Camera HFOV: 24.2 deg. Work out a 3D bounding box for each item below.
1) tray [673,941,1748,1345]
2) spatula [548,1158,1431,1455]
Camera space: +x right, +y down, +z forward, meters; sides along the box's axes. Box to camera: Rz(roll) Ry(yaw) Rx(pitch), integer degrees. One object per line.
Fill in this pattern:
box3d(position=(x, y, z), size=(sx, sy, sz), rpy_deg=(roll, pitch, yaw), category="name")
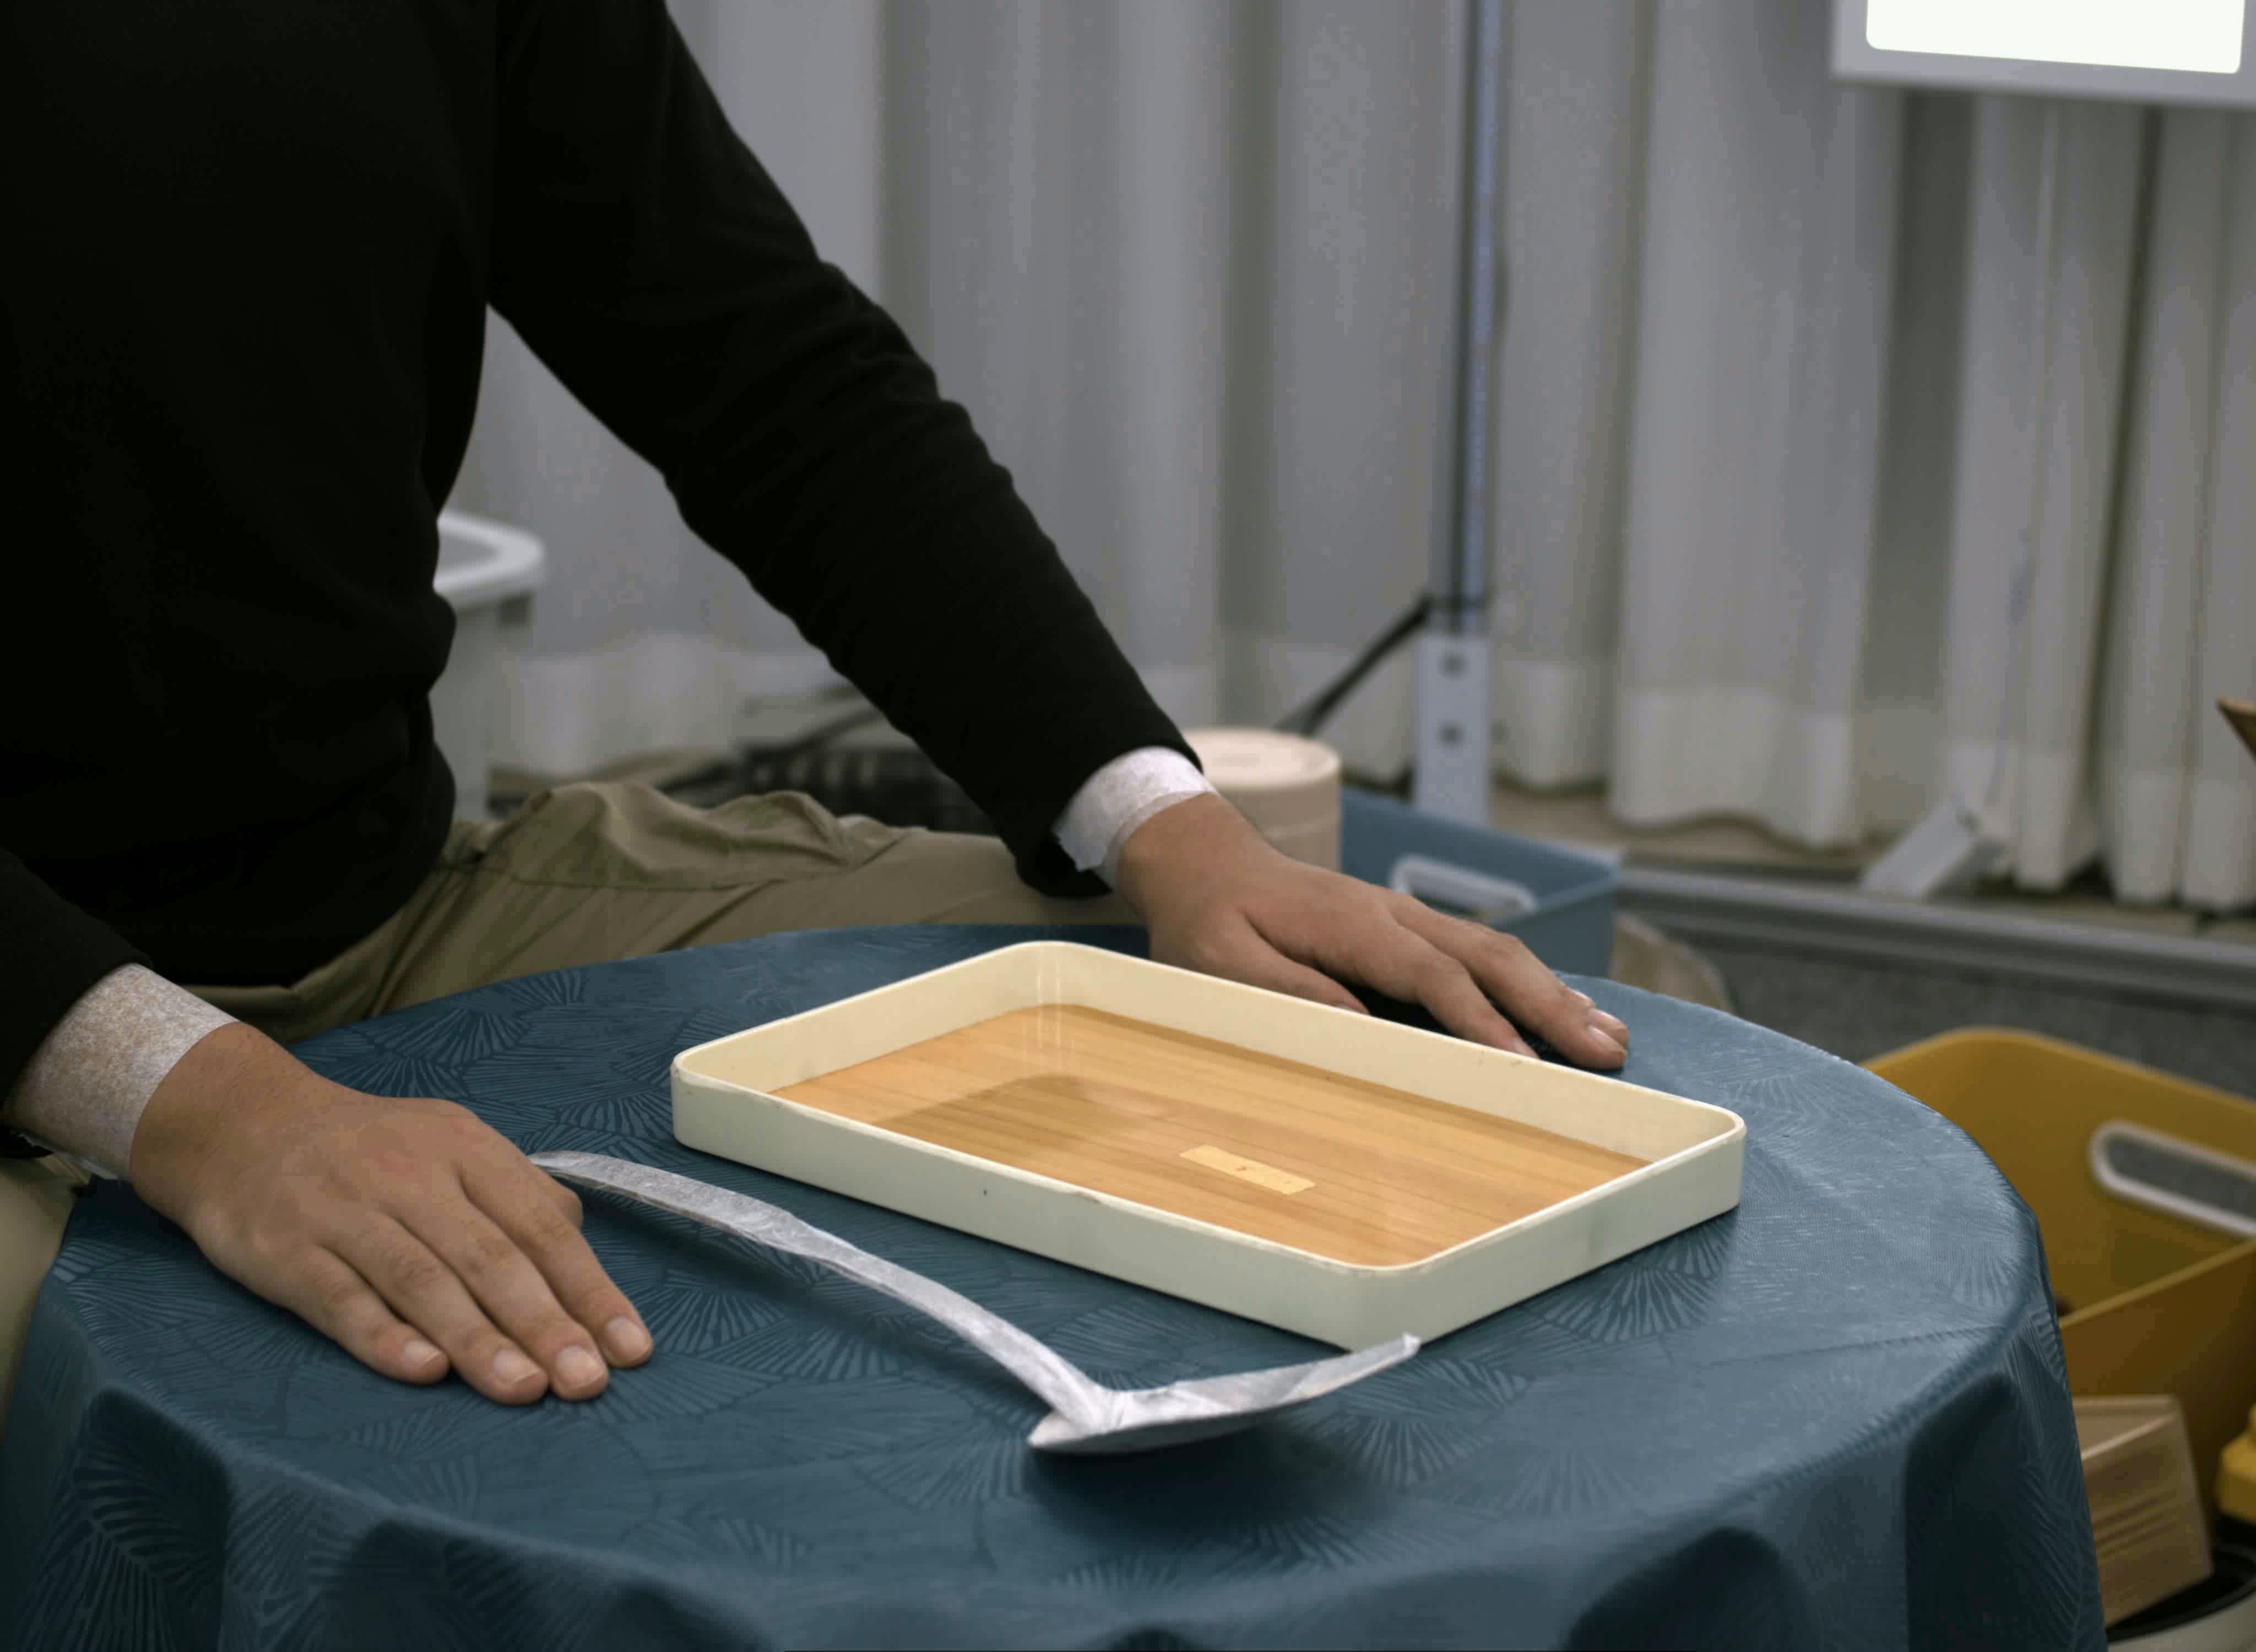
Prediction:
box3d(position=(0.023, 0.094, 1.637), size=(0.296, 0.027, 0.192), rpy_deg=(13, 20, 39), category="tray")
box3d(position=(-0.064, 0.126, 1.496), size=(0.099, 0.045, 0.360), rpy_deg=(-14, 21, -39), category="spatula")
